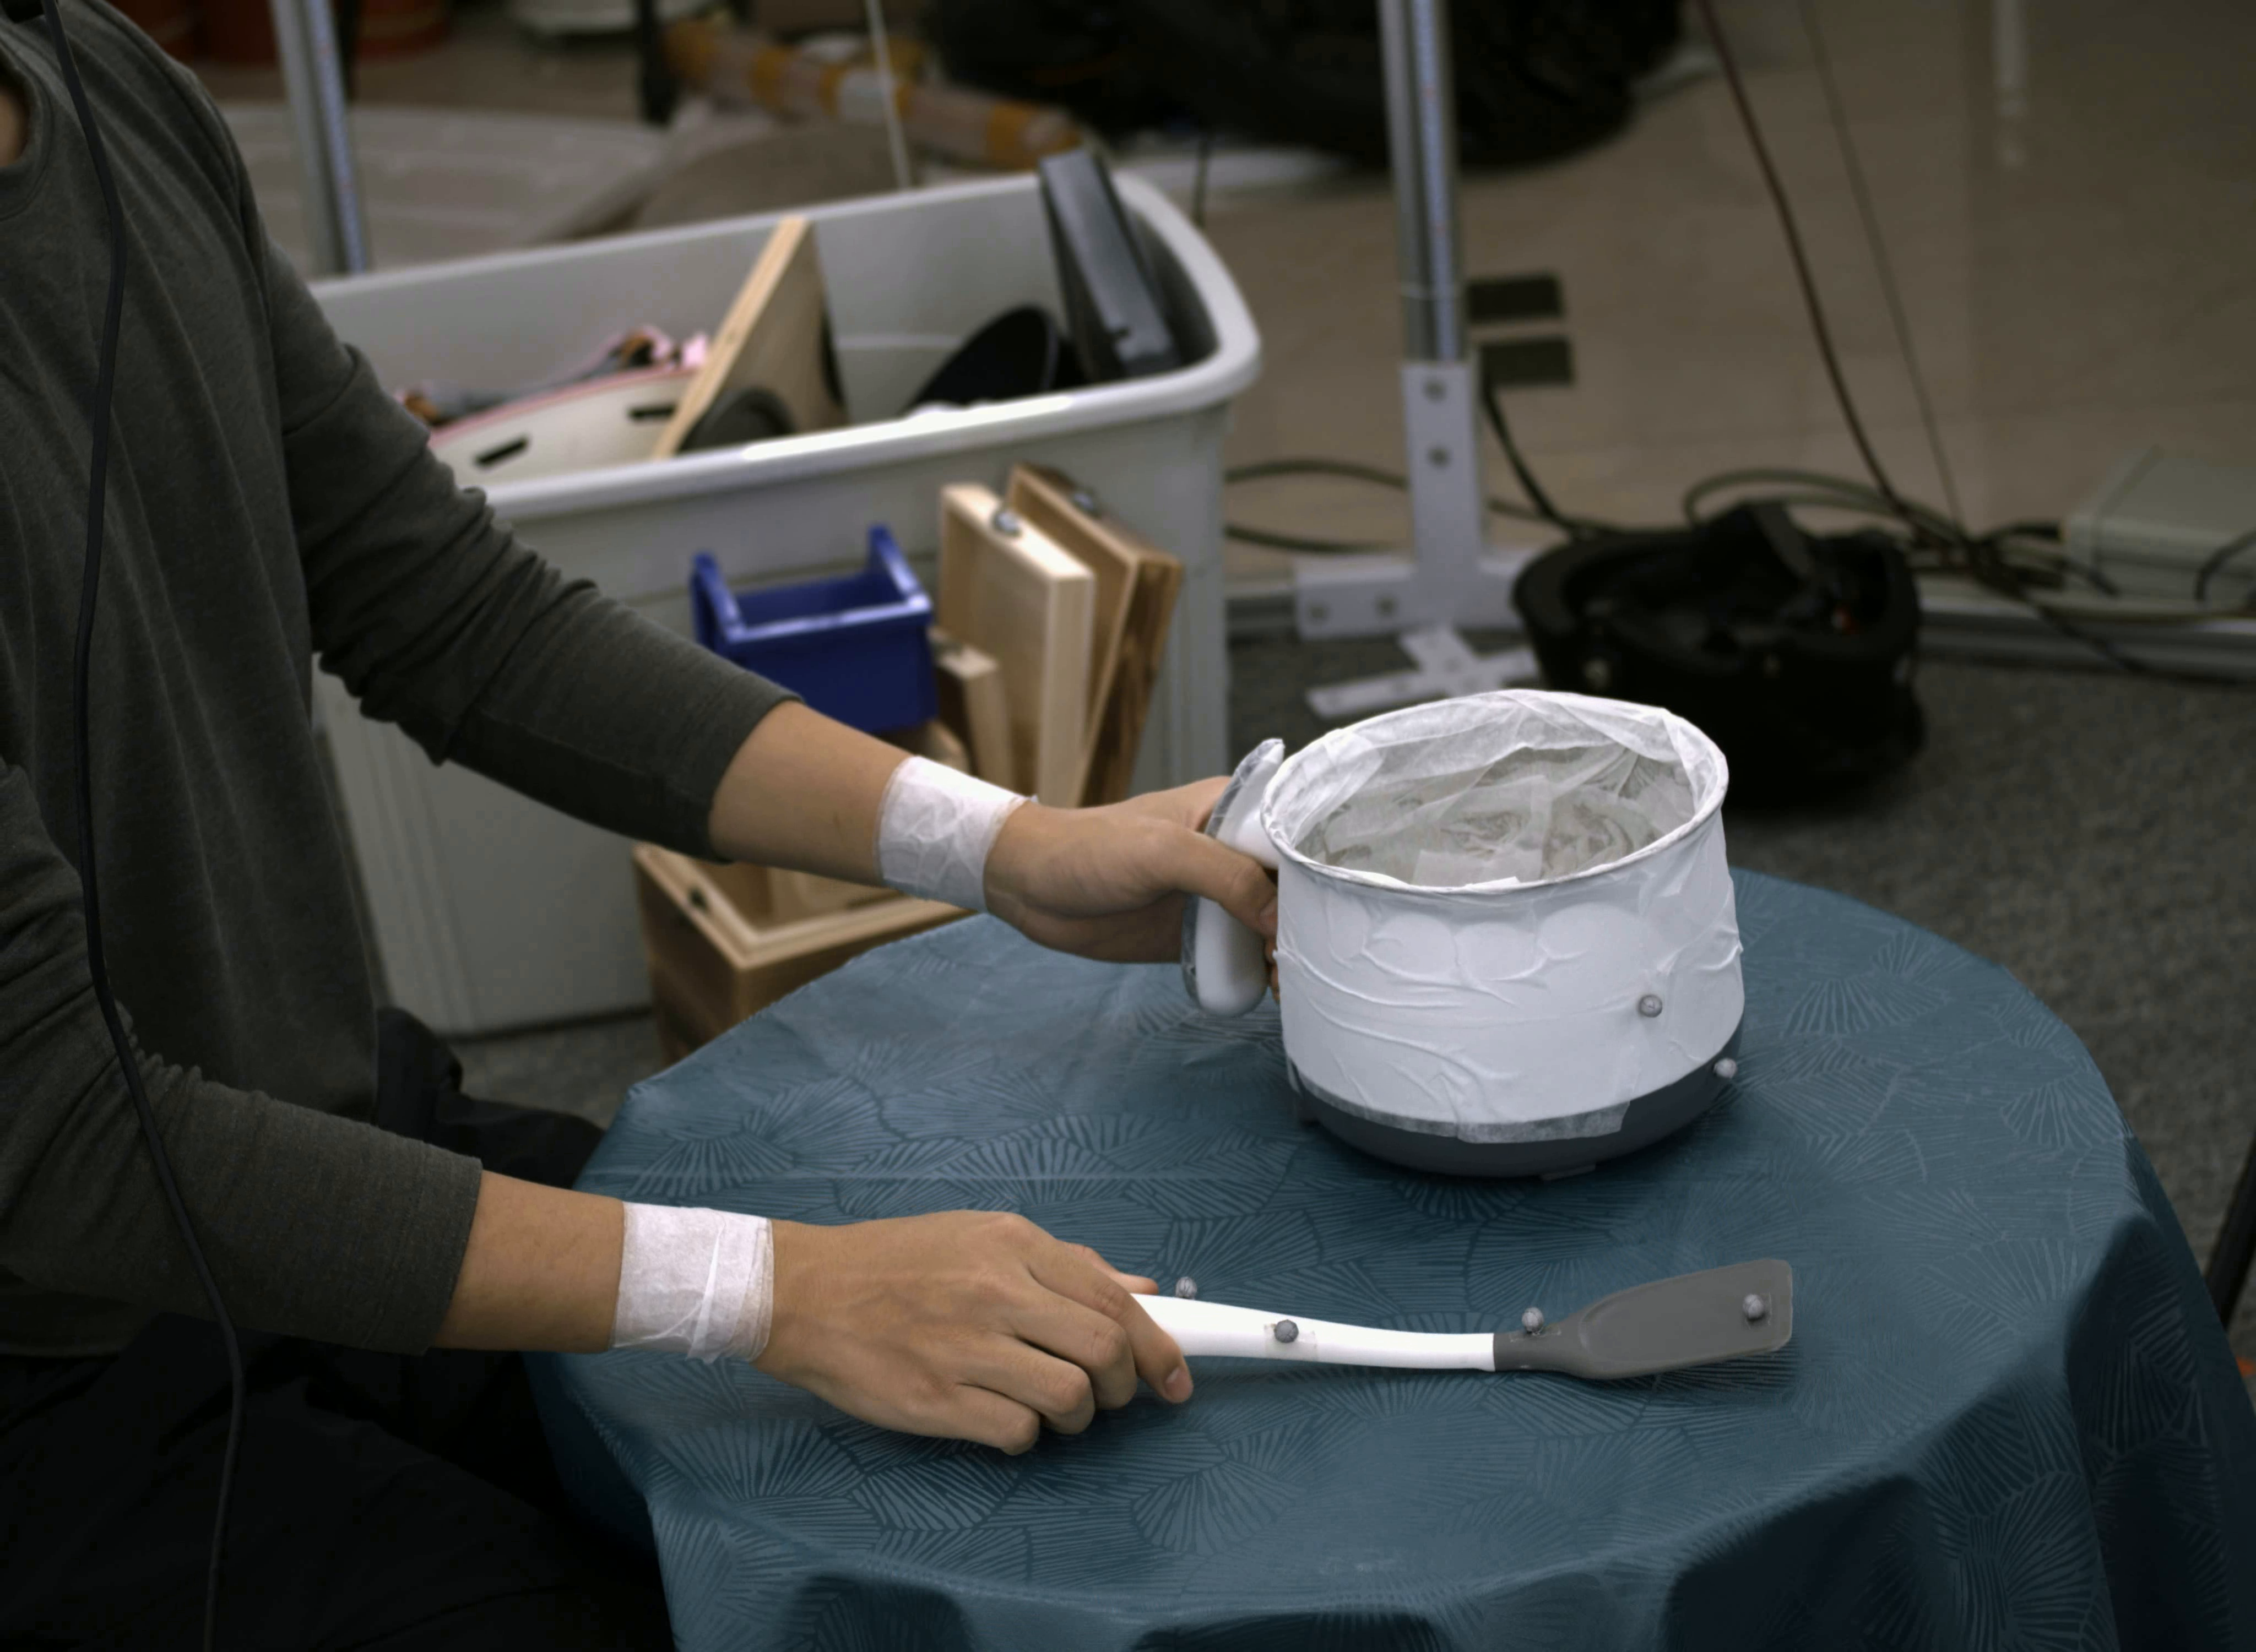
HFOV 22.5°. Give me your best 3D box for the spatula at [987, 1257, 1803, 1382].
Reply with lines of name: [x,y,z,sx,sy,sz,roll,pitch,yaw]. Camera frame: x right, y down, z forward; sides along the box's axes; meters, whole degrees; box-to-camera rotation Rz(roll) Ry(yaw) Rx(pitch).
spatula: [0.094,0.178,2.002,0.287,0.033,0.058,-2,32,8]

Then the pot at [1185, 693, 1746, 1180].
pot: [0.121,0.040,2.172,0.232,0.139,0.176,9,29,31]
